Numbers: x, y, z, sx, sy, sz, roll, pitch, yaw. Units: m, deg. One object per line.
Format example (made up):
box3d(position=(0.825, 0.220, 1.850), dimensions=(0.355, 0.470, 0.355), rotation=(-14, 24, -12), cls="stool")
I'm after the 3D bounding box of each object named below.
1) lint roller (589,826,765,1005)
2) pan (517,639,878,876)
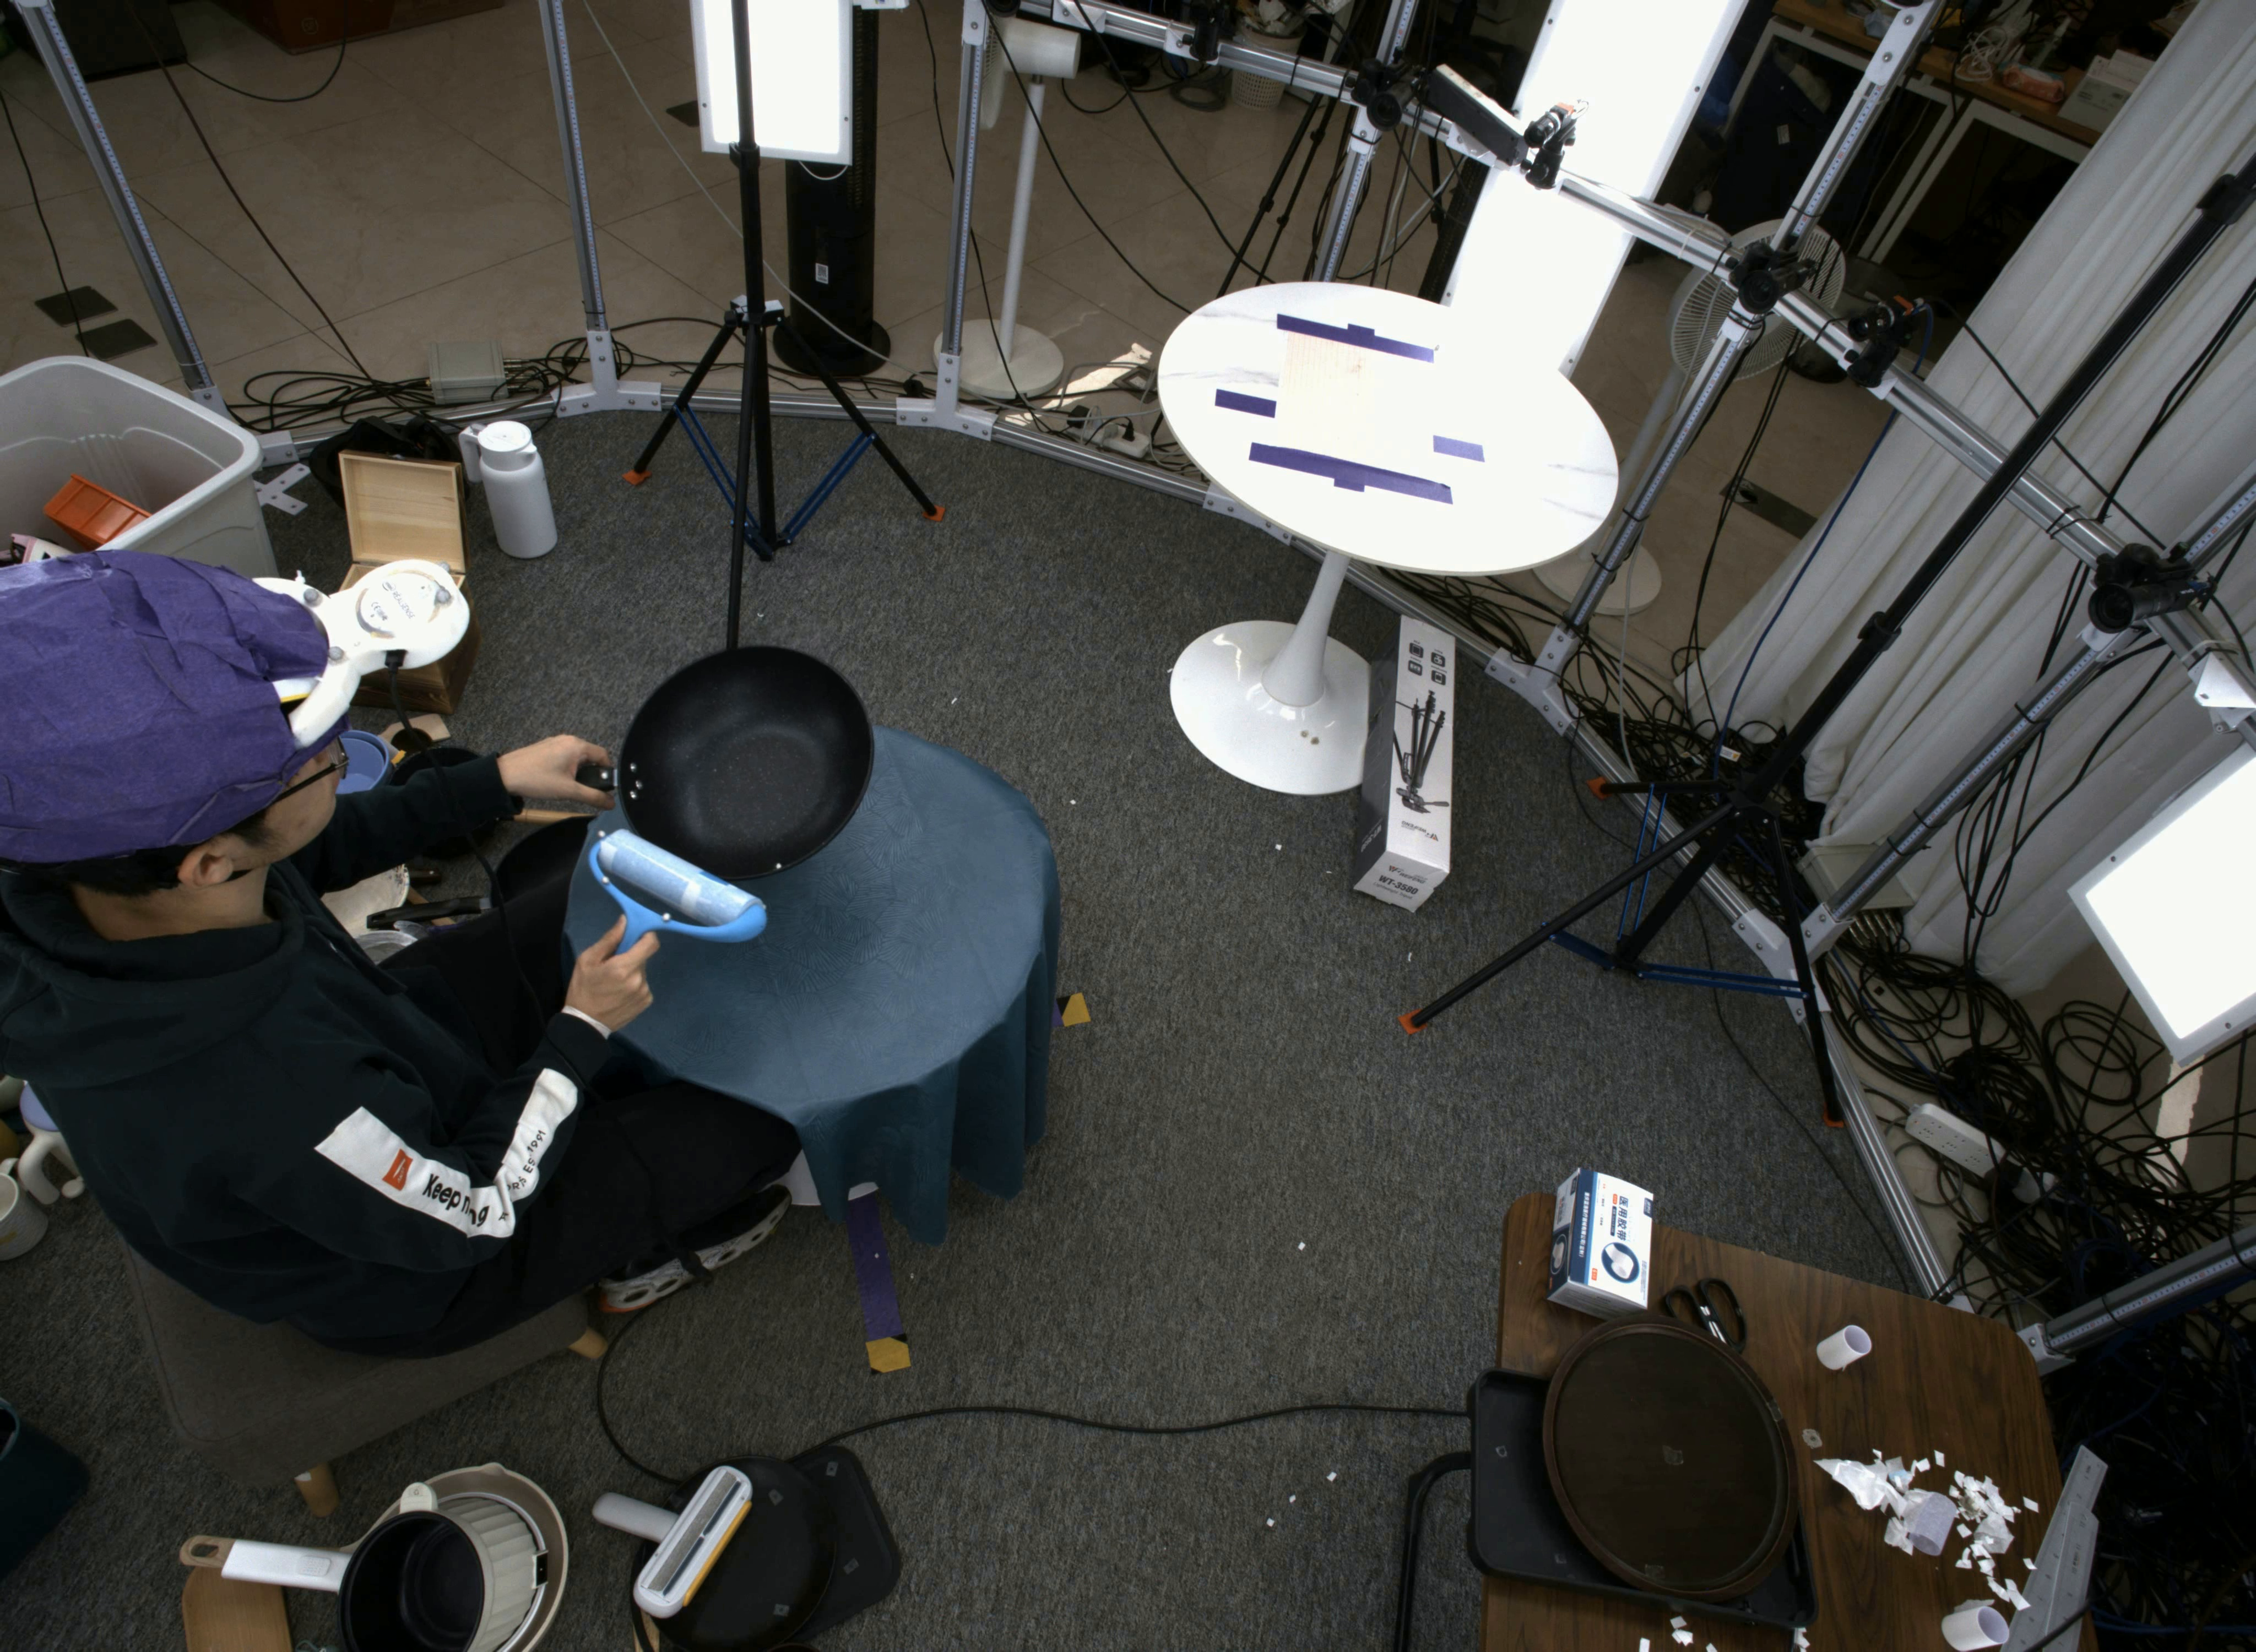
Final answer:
box3d(position=(-0.533, 0.109, 1.432), dimensions=(0.225, 0.069, 0.180), rotation=(22, 70, 8), cls="lint roller")
box3d(position=(-0.530, -0.064, 1.553), dimensions=(0.473, 0.114, 0.306), rotation=(-8, 68, -4), cls="pan")
